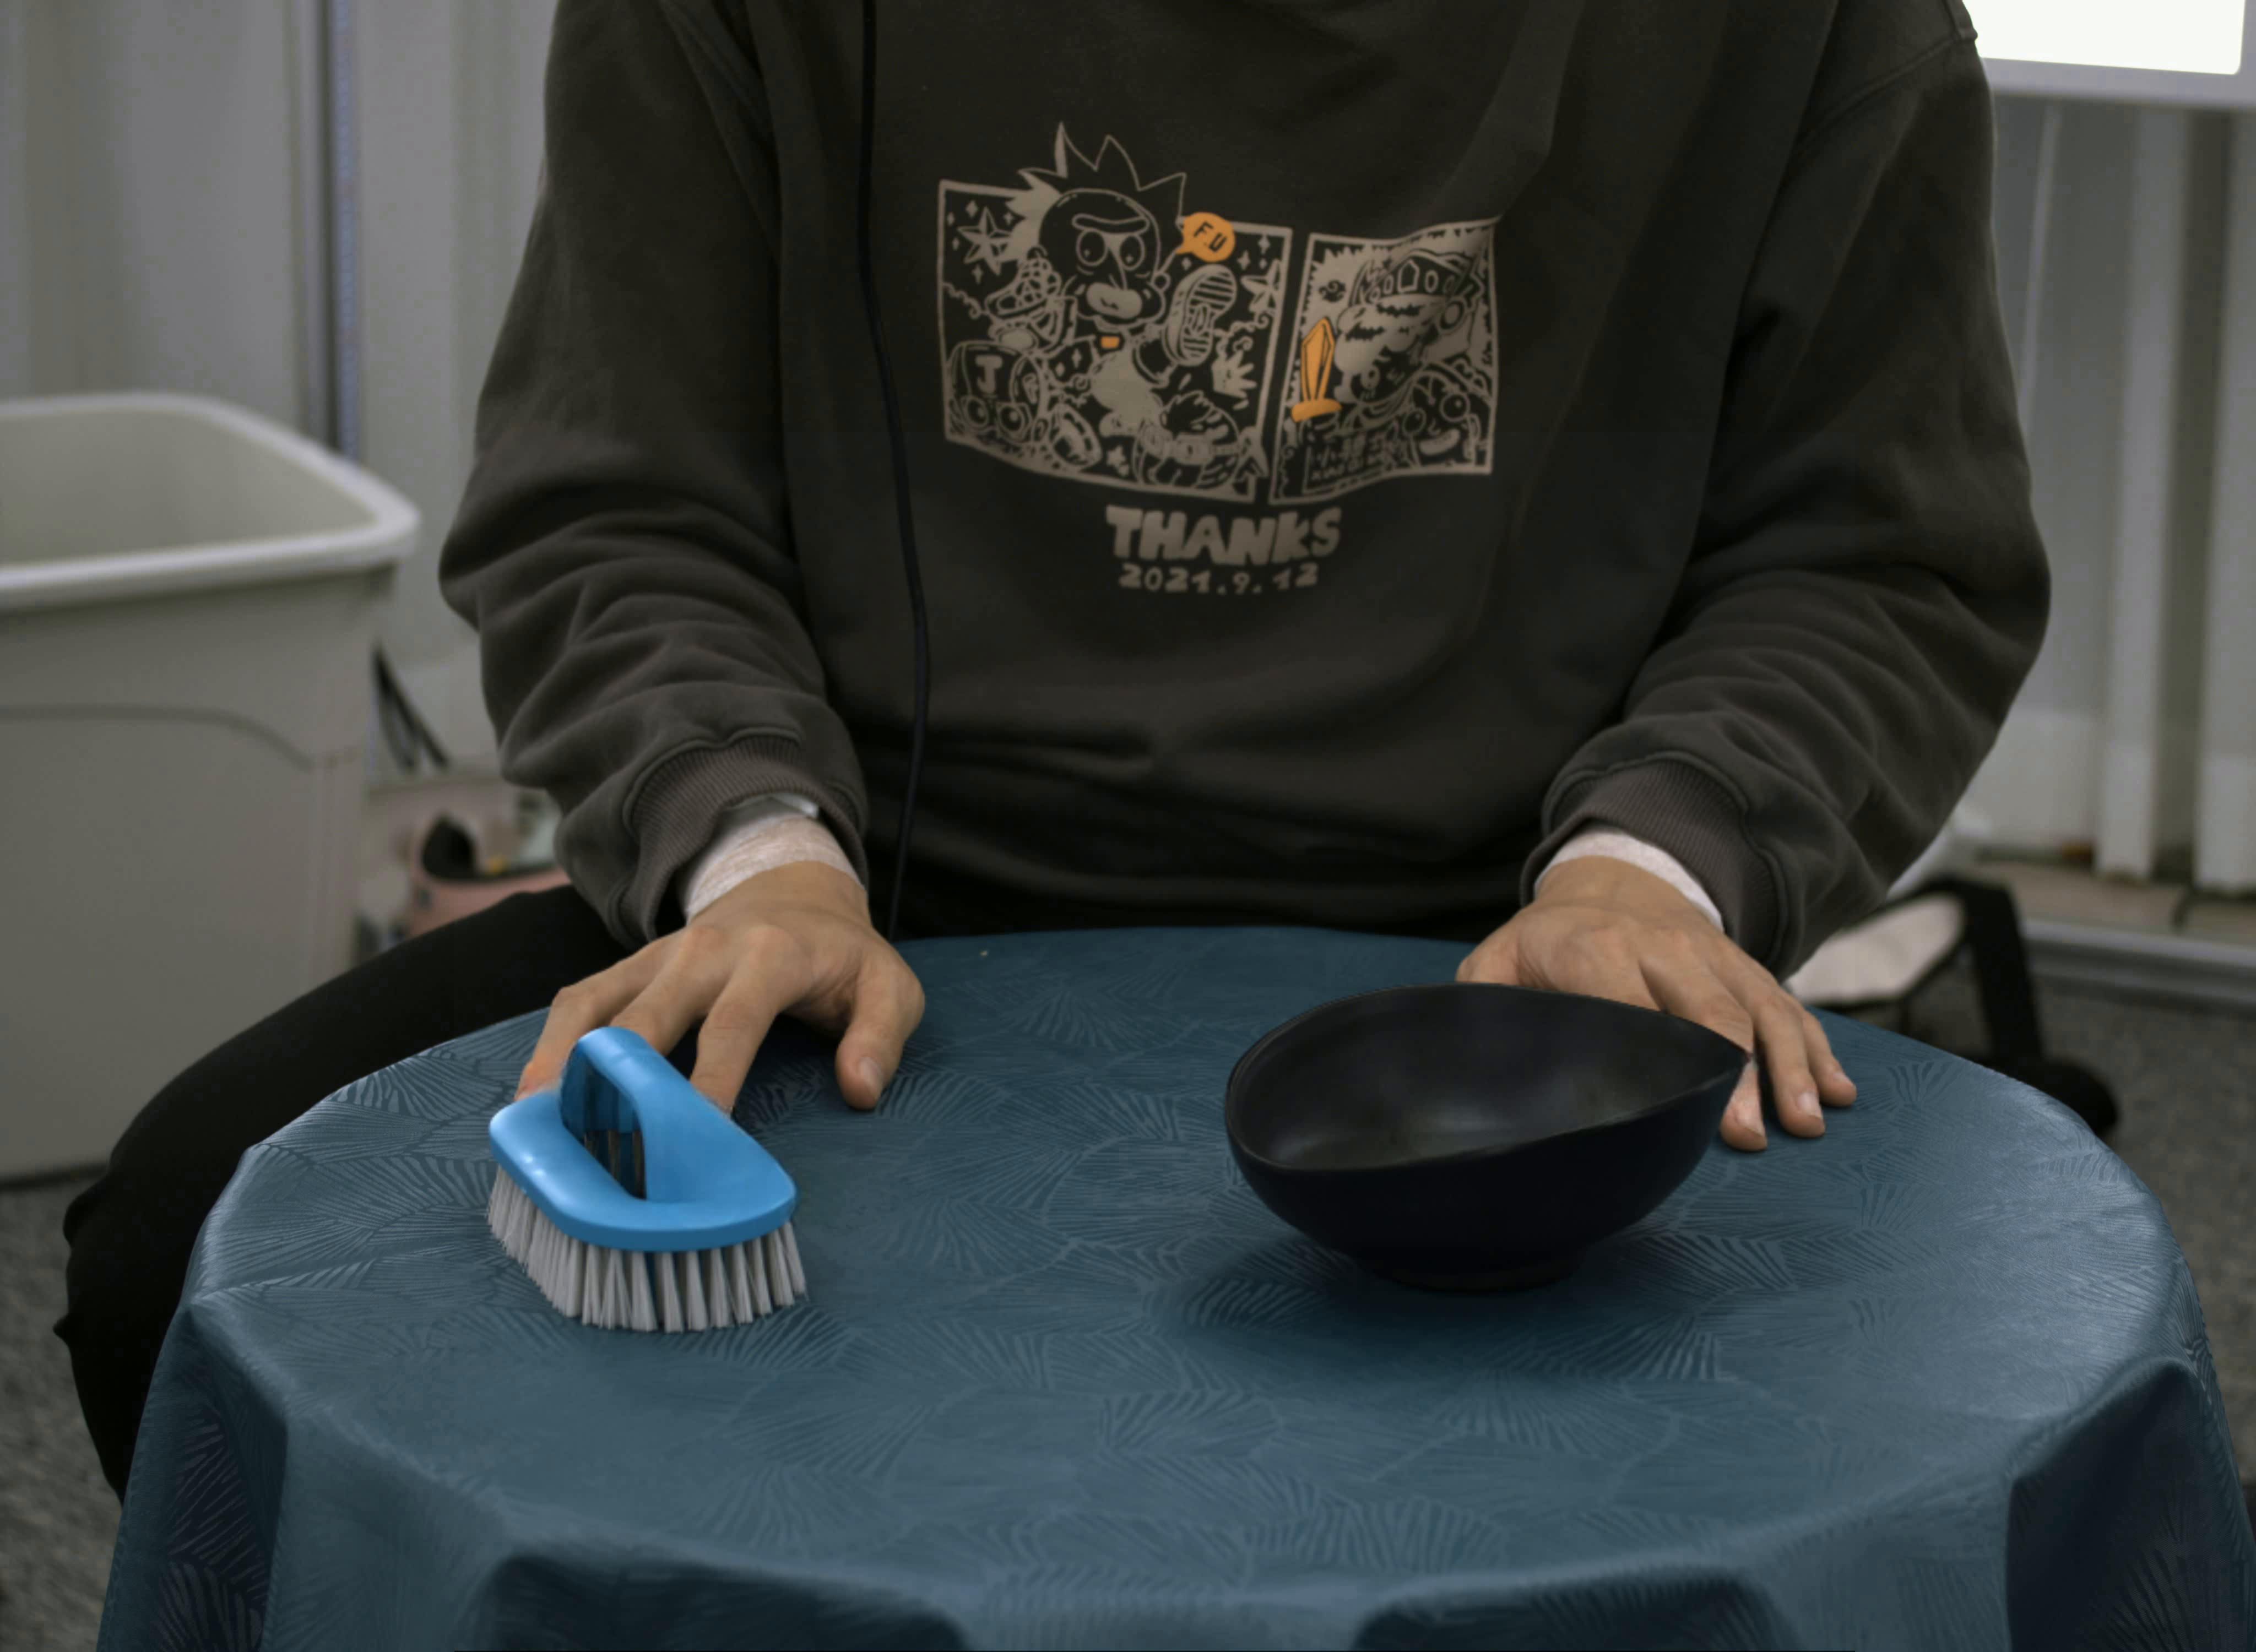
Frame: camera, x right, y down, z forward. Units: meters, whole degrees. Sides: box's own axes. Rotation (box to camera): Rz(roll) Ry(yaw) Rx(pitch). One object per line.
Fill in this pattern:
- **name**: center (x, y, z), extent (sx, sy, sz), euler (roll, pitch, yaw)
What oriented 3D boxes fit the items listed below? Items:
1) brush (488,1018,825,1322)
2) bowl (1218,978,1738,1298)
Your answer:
- **brush**: center (-0.143, 0.095, 1.564), extent (0.084, 0.064, 0.140), euler (-10, 17, -18)
- **bowl**: center (0.105, 0.098, 1.567), extent (0.171, 0.067, 0.135), euler (-16, 22, -42)
